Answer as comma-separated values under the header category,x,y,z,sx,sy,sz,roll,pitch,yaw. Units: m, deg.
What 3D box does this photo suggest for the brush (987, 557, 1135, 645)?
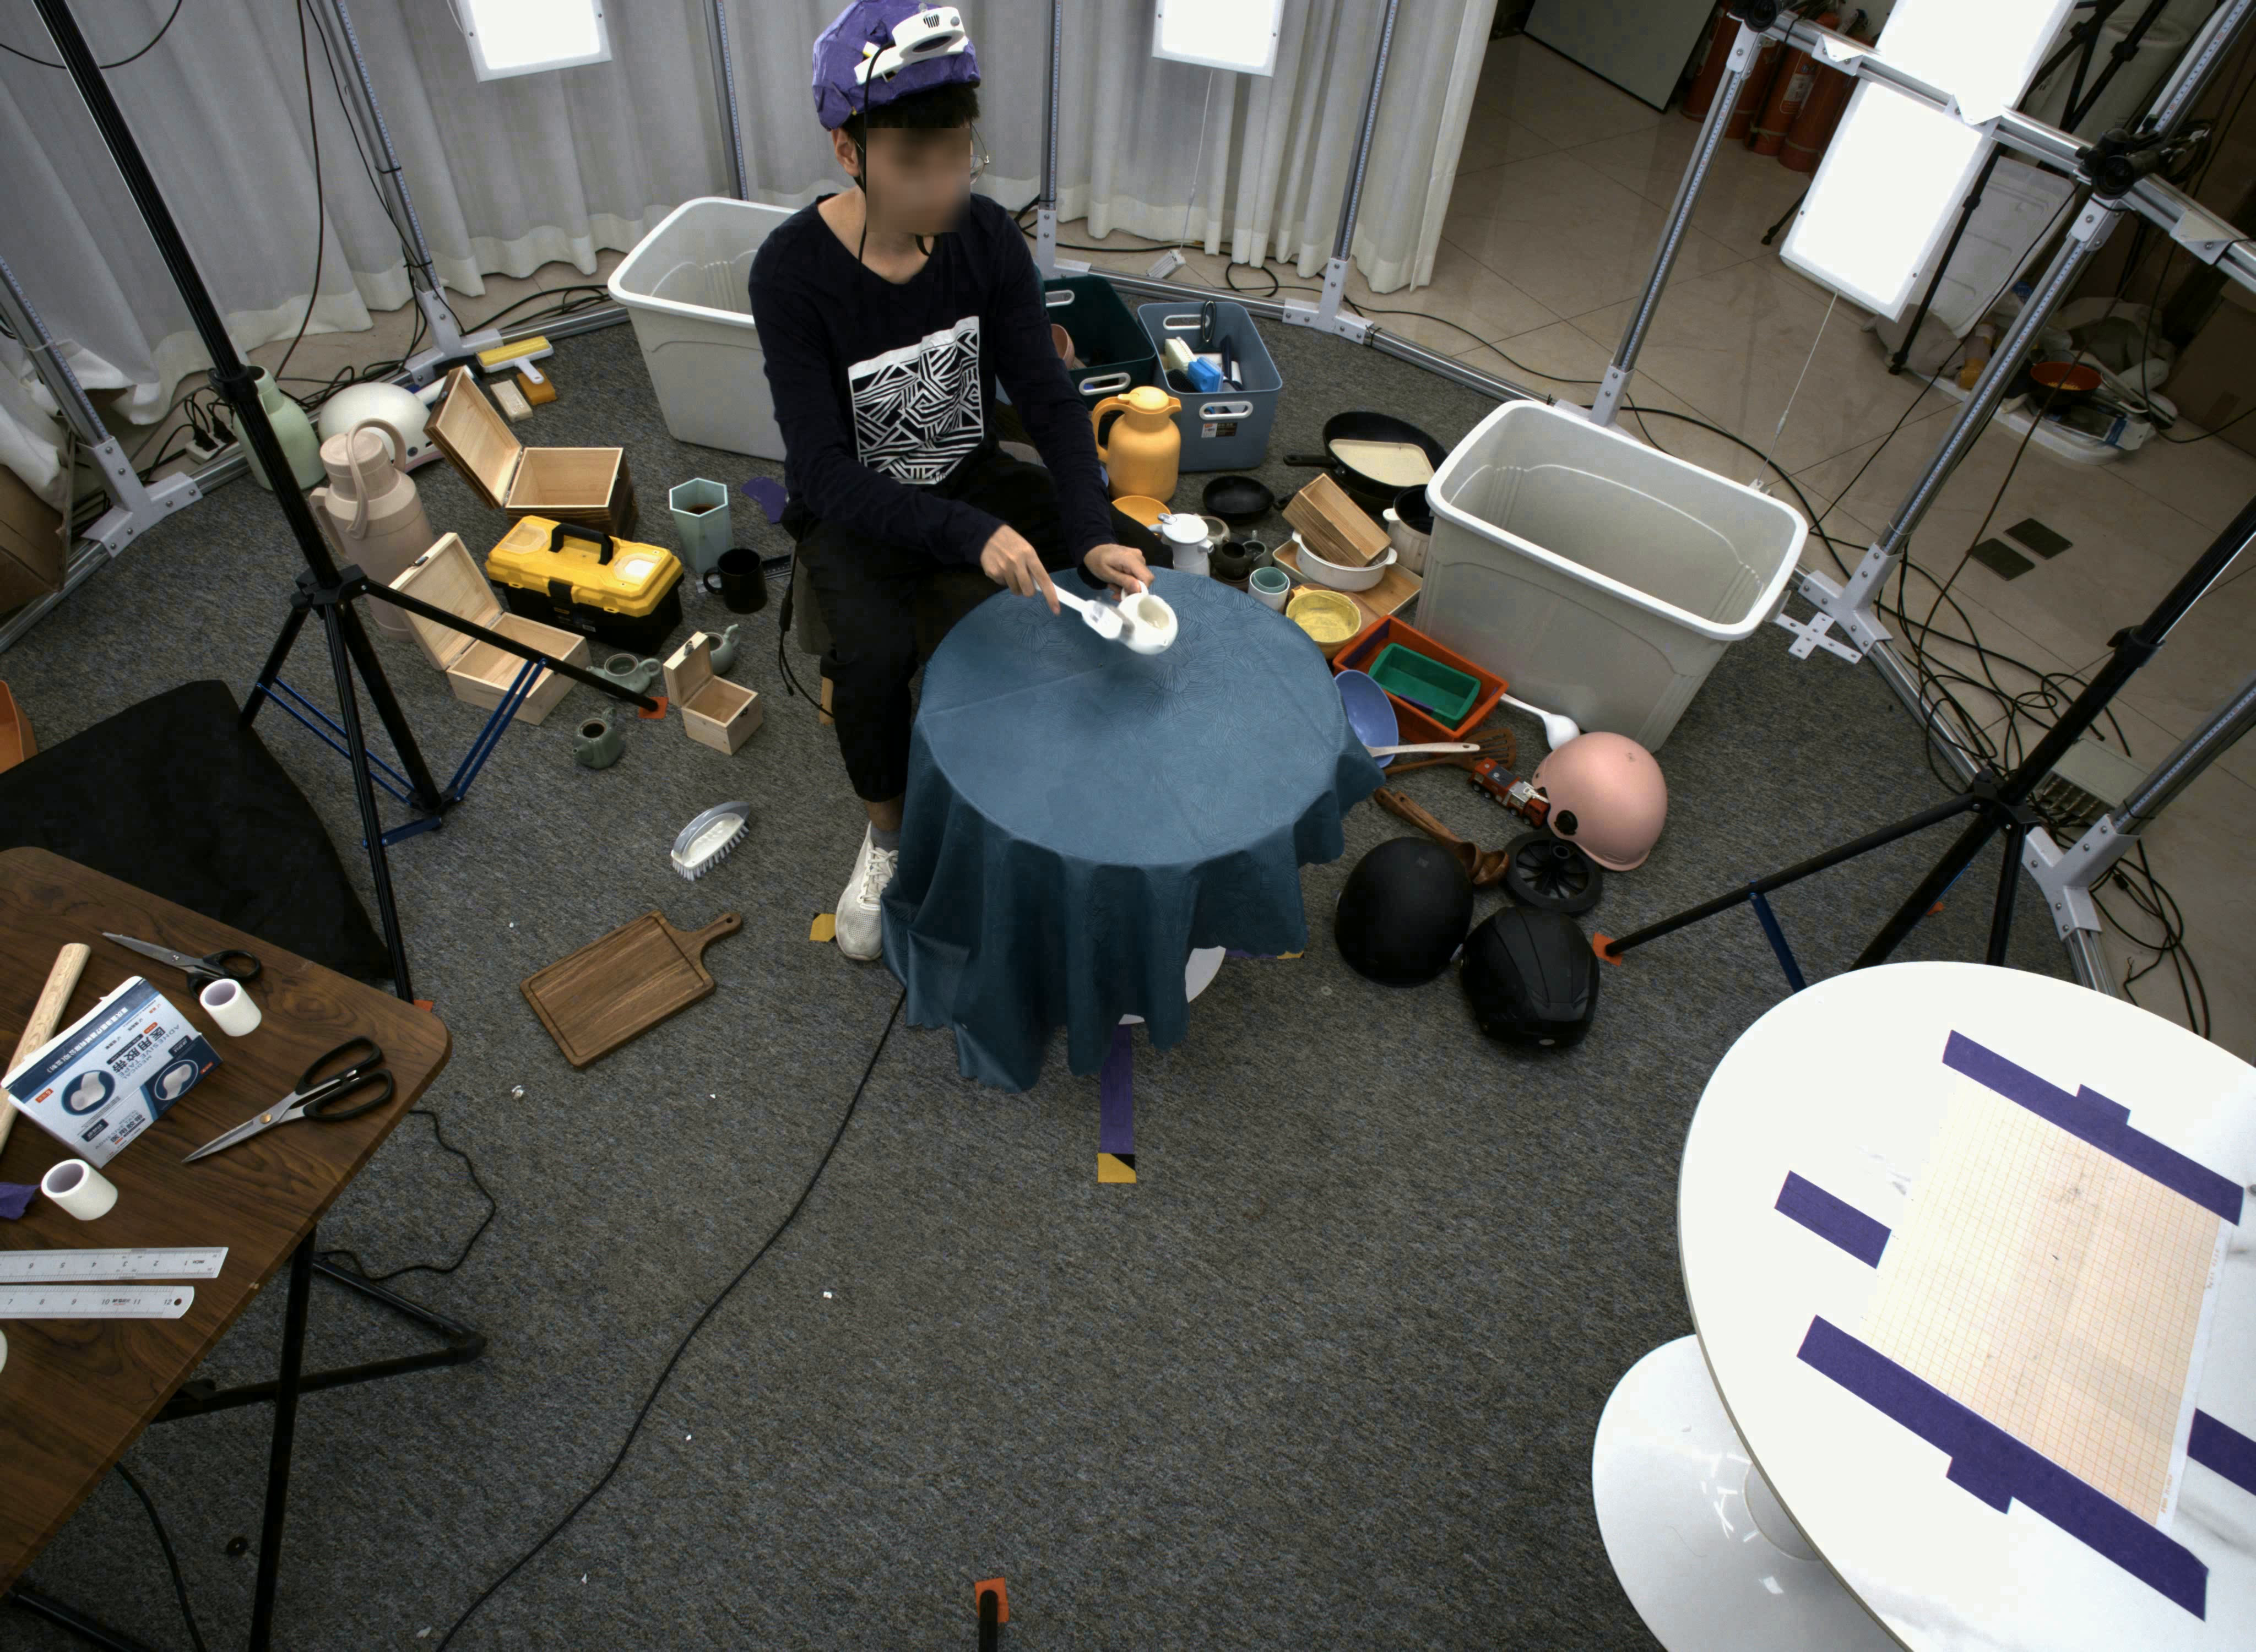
category,x,y,z,sx,sy,sz,roll,pitch,yaw
brush,-0.093,-0.319,1.803,0.246,0.034,0.050,31,26,23

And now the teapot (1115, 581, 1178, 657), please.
category,x,y,z,sx,sy,sz,roll,pitch,yaw
teapot,0.021,-0.293,1.820,0.093,0.055,0.129,-9,63,-32
